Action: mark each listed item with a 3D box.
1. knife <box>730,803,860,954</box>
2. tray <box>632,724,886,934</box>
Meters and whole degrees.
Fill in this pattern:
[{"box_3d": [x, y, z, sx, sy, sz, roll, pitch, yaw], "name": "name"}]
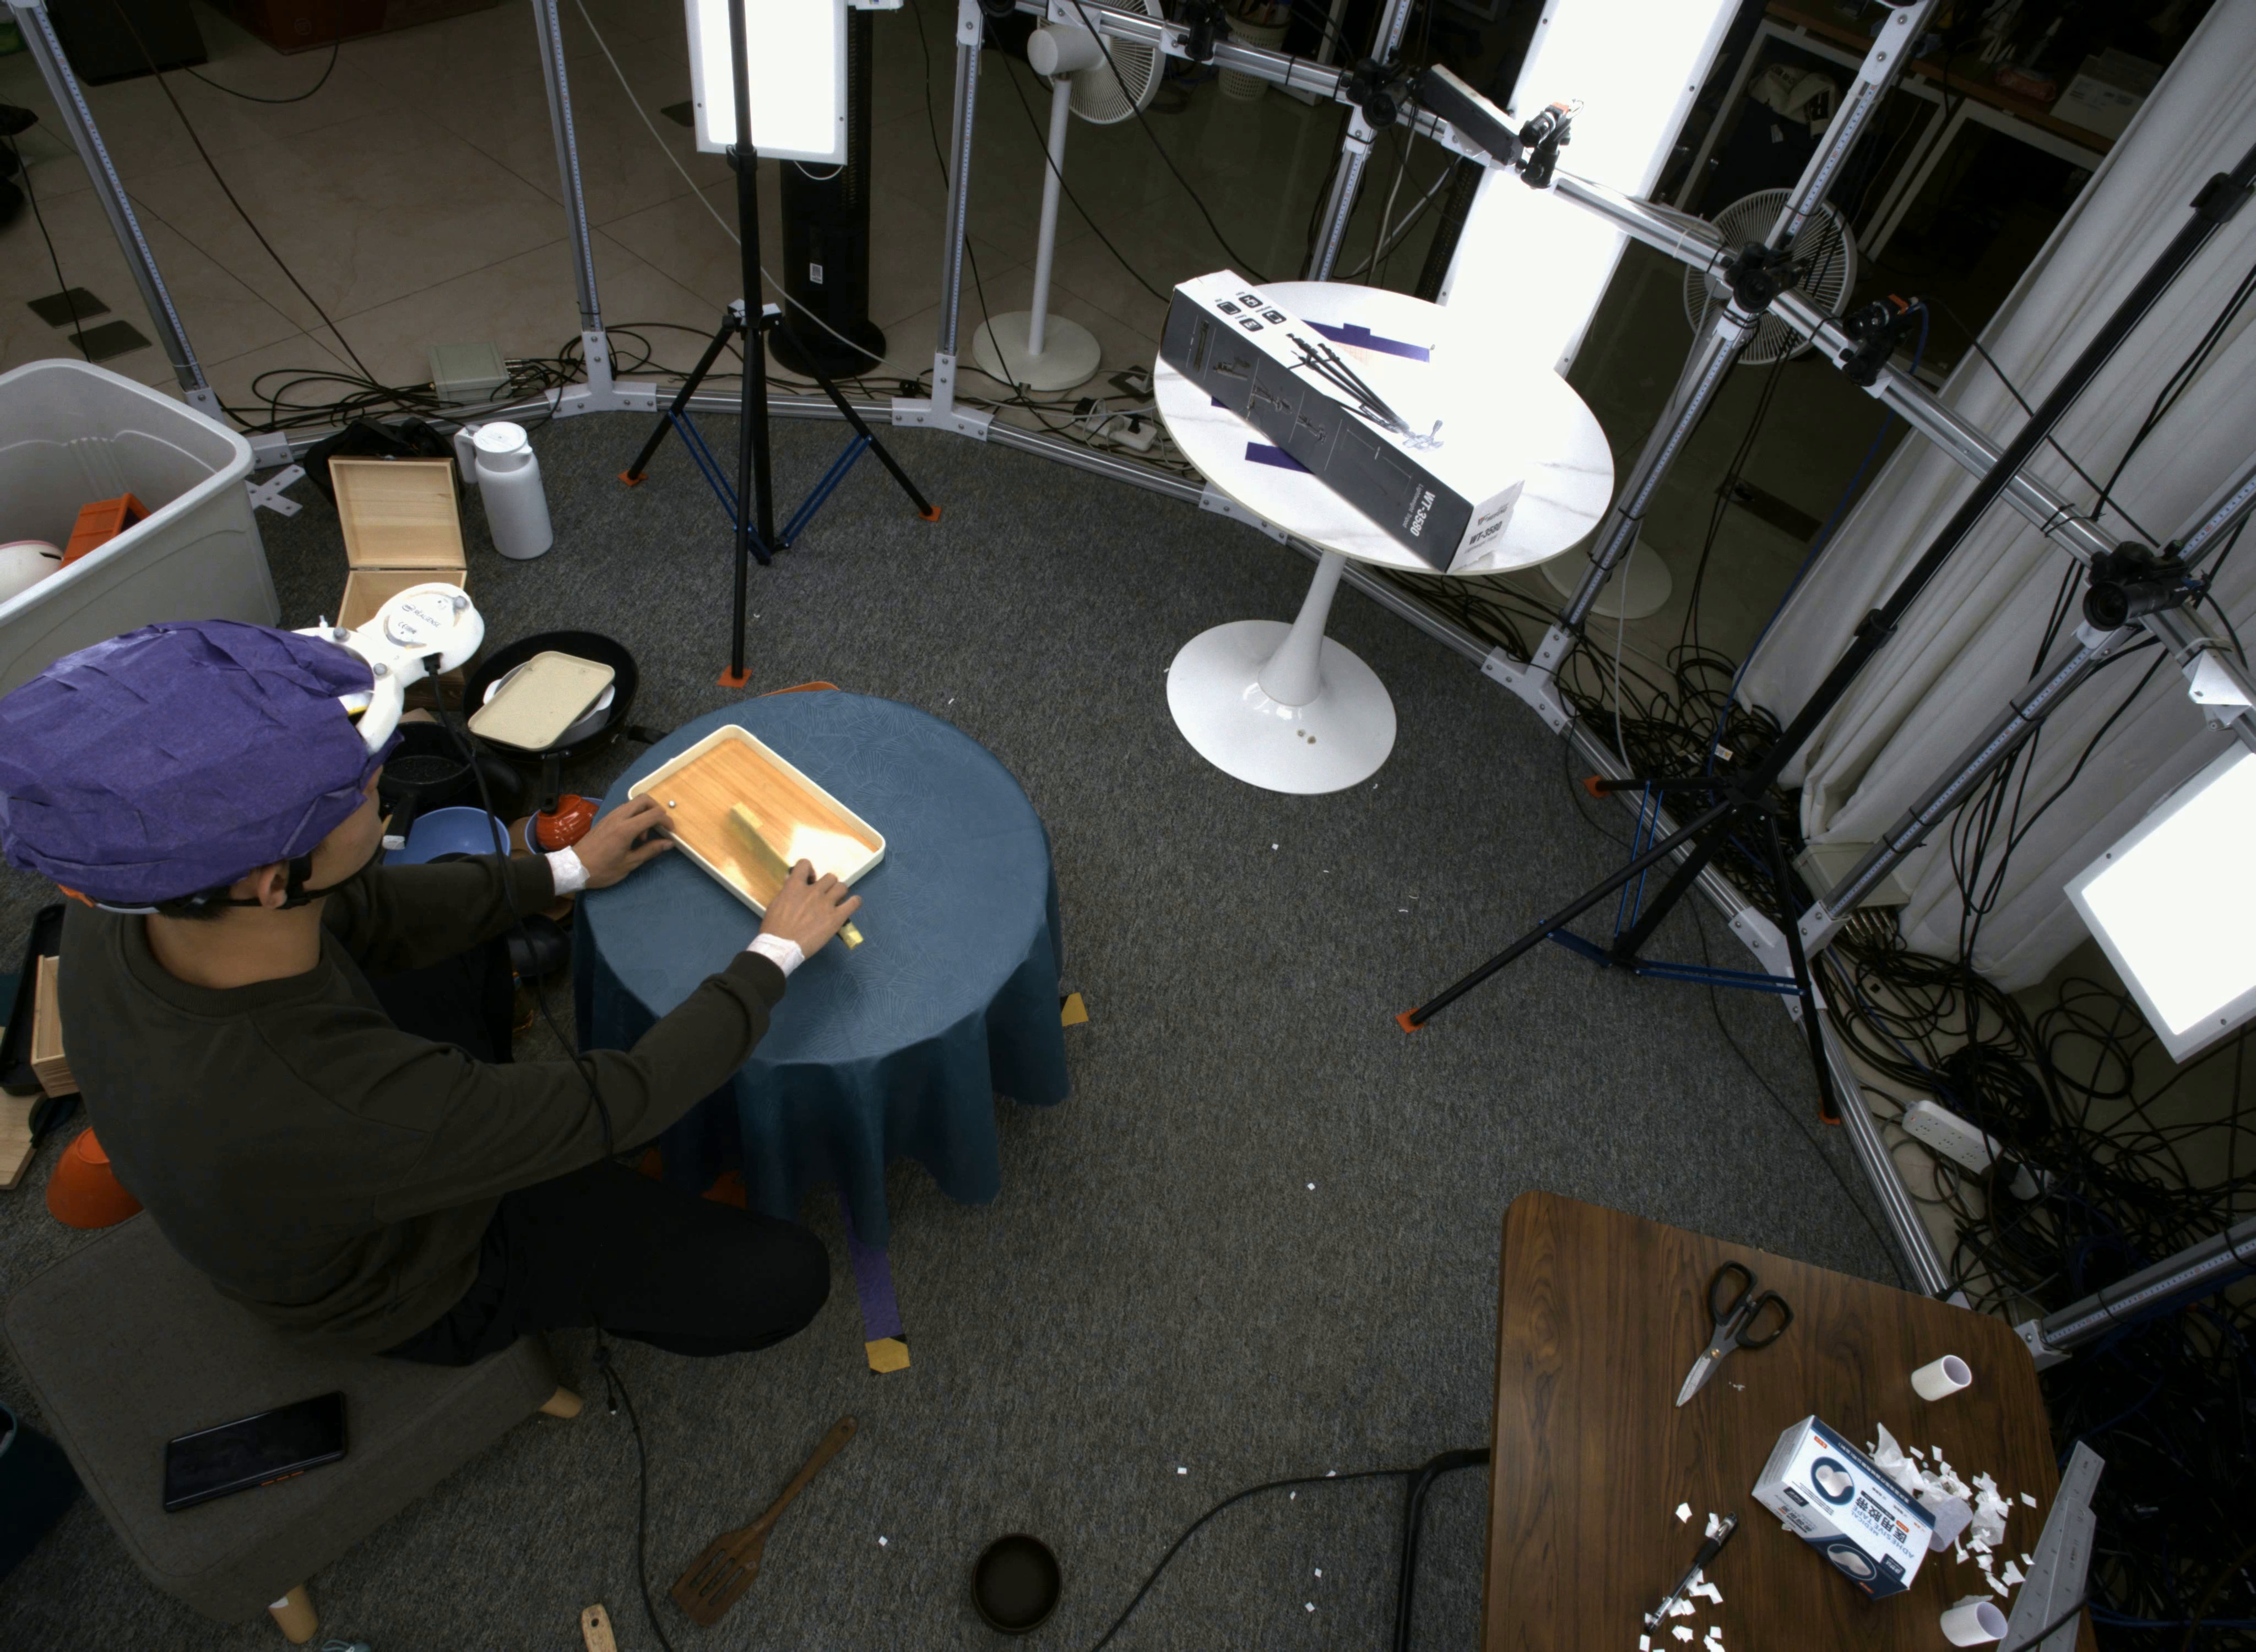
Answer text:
[{"box_3d": [-0.423, 0.064, 1.622, 0.027, 0.083, 0.281, -35, 64, -26], "name": "knife"}, {"box_3d": [-0.485, -0.003, 1.700, 0.294, 0.028, 0.191, 36, 53, 13], "name": "tray"}]
